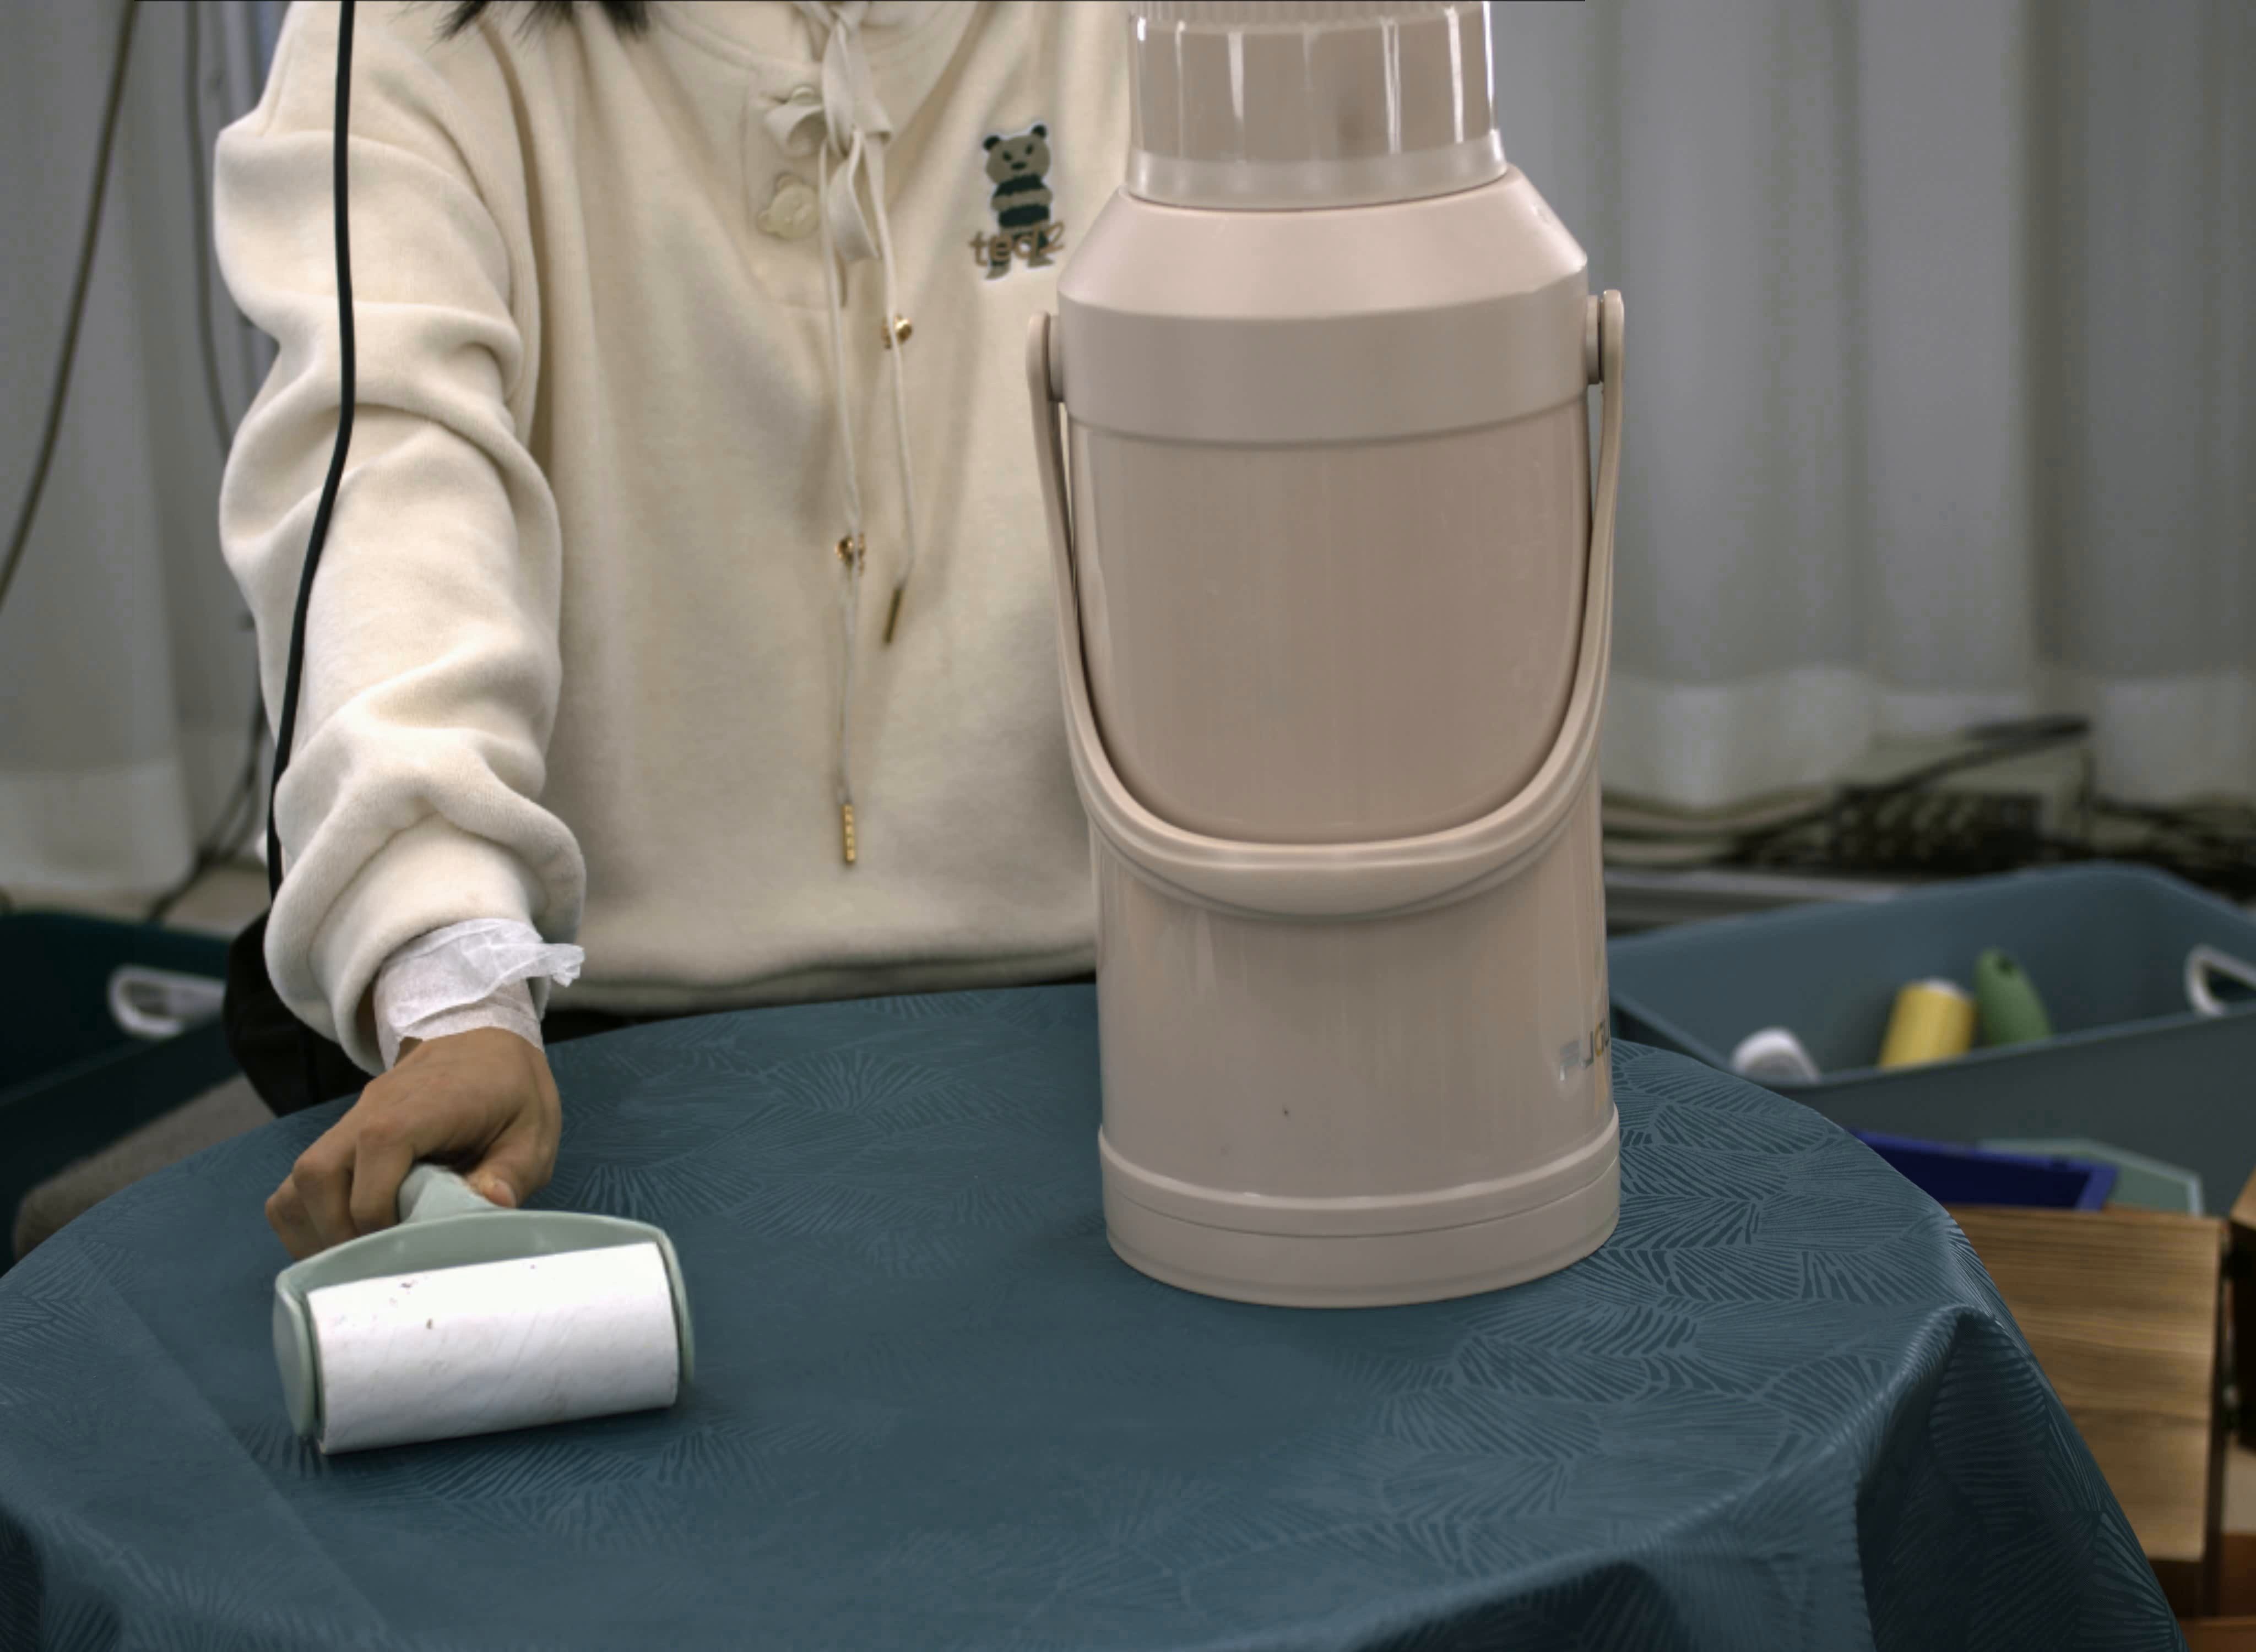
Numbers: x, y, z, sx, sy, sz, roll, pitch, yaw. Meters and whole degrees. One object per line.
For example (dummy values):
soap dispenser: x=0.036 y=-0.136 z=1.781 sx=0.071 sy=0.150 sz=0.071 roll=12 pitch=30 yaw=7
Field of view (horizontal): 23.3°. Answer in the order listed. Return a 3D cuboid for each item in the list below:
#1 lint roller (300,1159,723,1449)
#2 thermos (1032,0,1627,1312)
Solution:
lint roller: x=-0.191 y=0.126 z=1.606 sx=0.116 sy=0.048 sz=0.199 roll=-8 pitch=17 yaw=-14
thermos: x=0.065 y=-0.073 z=1.642 sx=0.175 sy=0.405 sz=0.208 roll=-2 pitch=13 yaw=7
